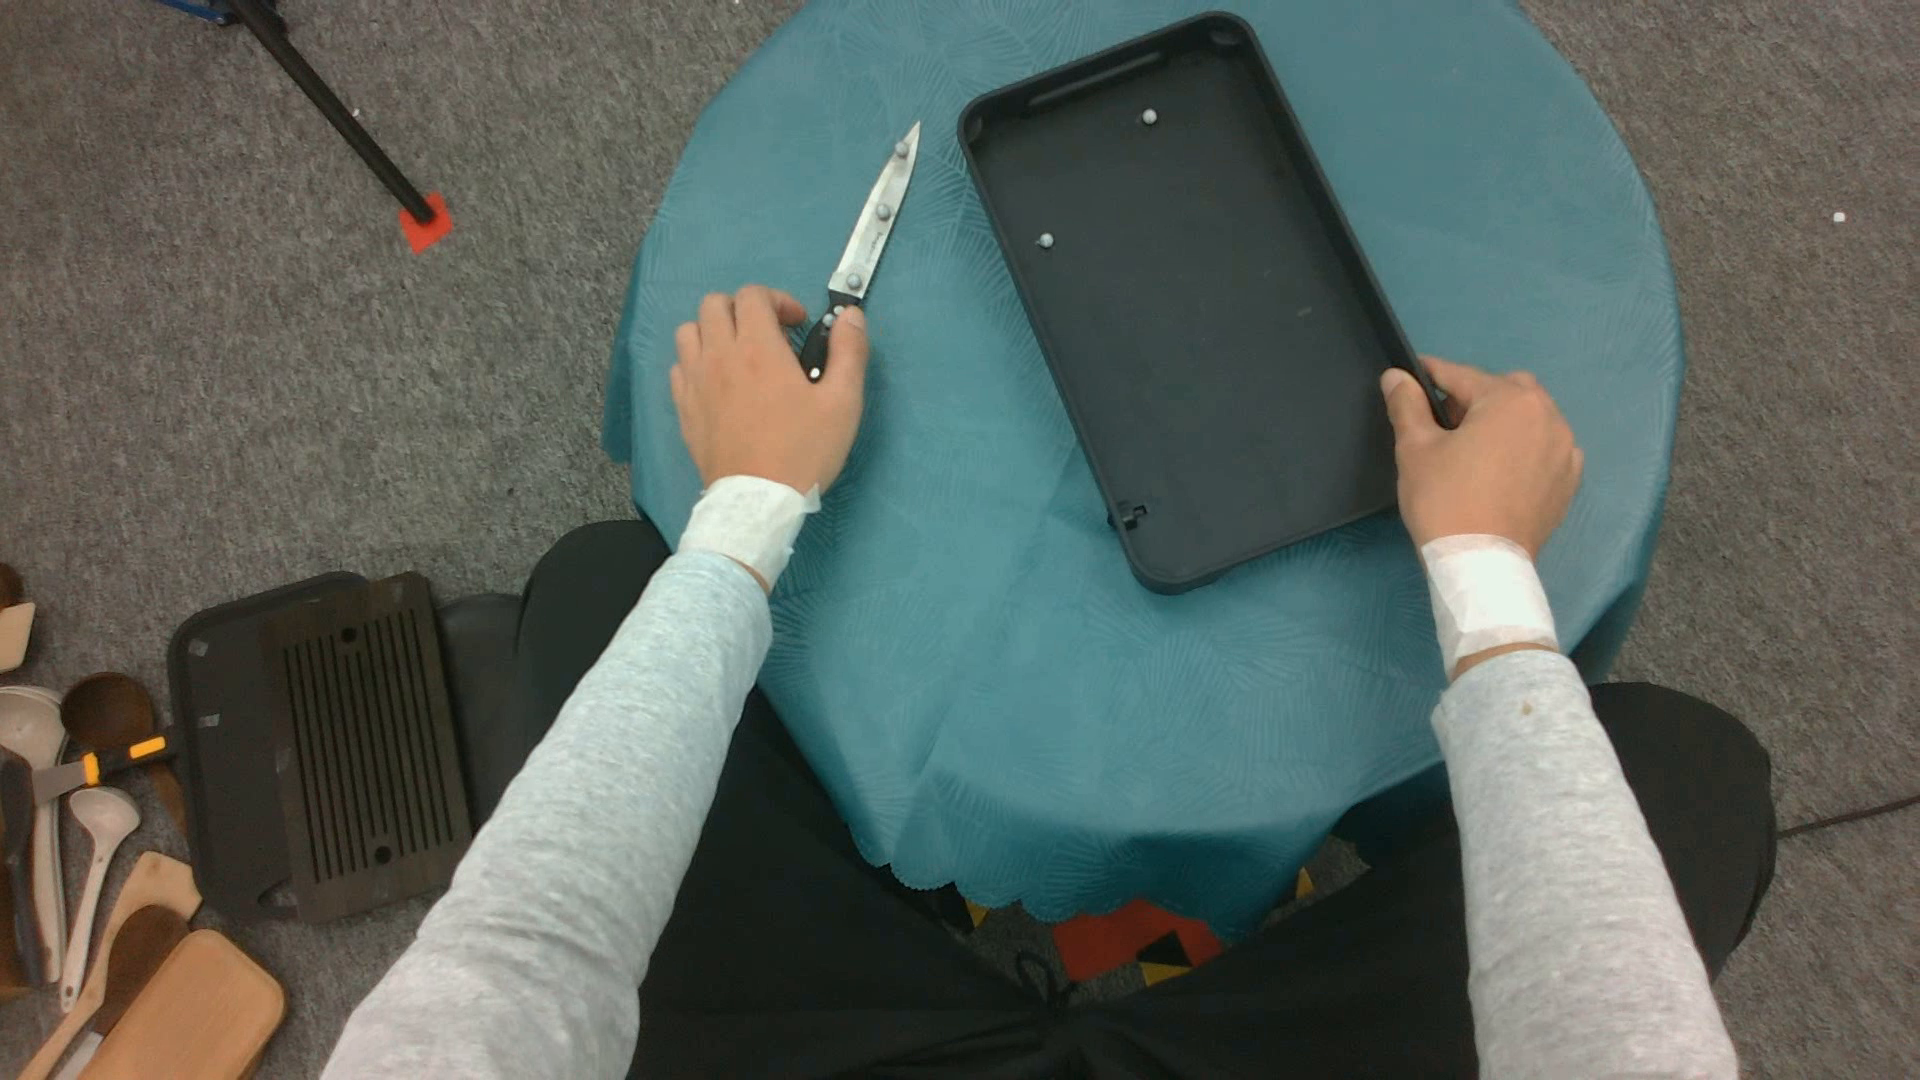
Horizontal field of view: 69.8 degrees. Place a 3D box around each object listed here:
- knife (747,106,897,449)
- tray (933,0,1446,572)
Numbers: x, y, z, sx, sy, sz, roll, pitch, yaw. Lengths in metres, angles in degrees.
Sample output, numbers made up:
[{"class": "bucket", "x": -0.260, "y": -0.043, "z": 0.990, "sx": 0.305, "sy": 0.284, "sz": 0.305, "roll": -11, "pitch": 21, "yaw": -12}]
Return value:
[{"class": "knife", "x": -0.074, "y": -0.158, "z": 0.808, "sx": 0.024, "sy": 0.016, "sz": 0.239, "roll": 17, "pitch": 72, "yaw": 6}, {"class": "tray", "x": 0.121, "y": -0.151, "z": 0.778, "sx": 0.184, "sy": 0.037, "sz": 0.318, "roll": -22, "pitch": 73, "yaw": -2}]
